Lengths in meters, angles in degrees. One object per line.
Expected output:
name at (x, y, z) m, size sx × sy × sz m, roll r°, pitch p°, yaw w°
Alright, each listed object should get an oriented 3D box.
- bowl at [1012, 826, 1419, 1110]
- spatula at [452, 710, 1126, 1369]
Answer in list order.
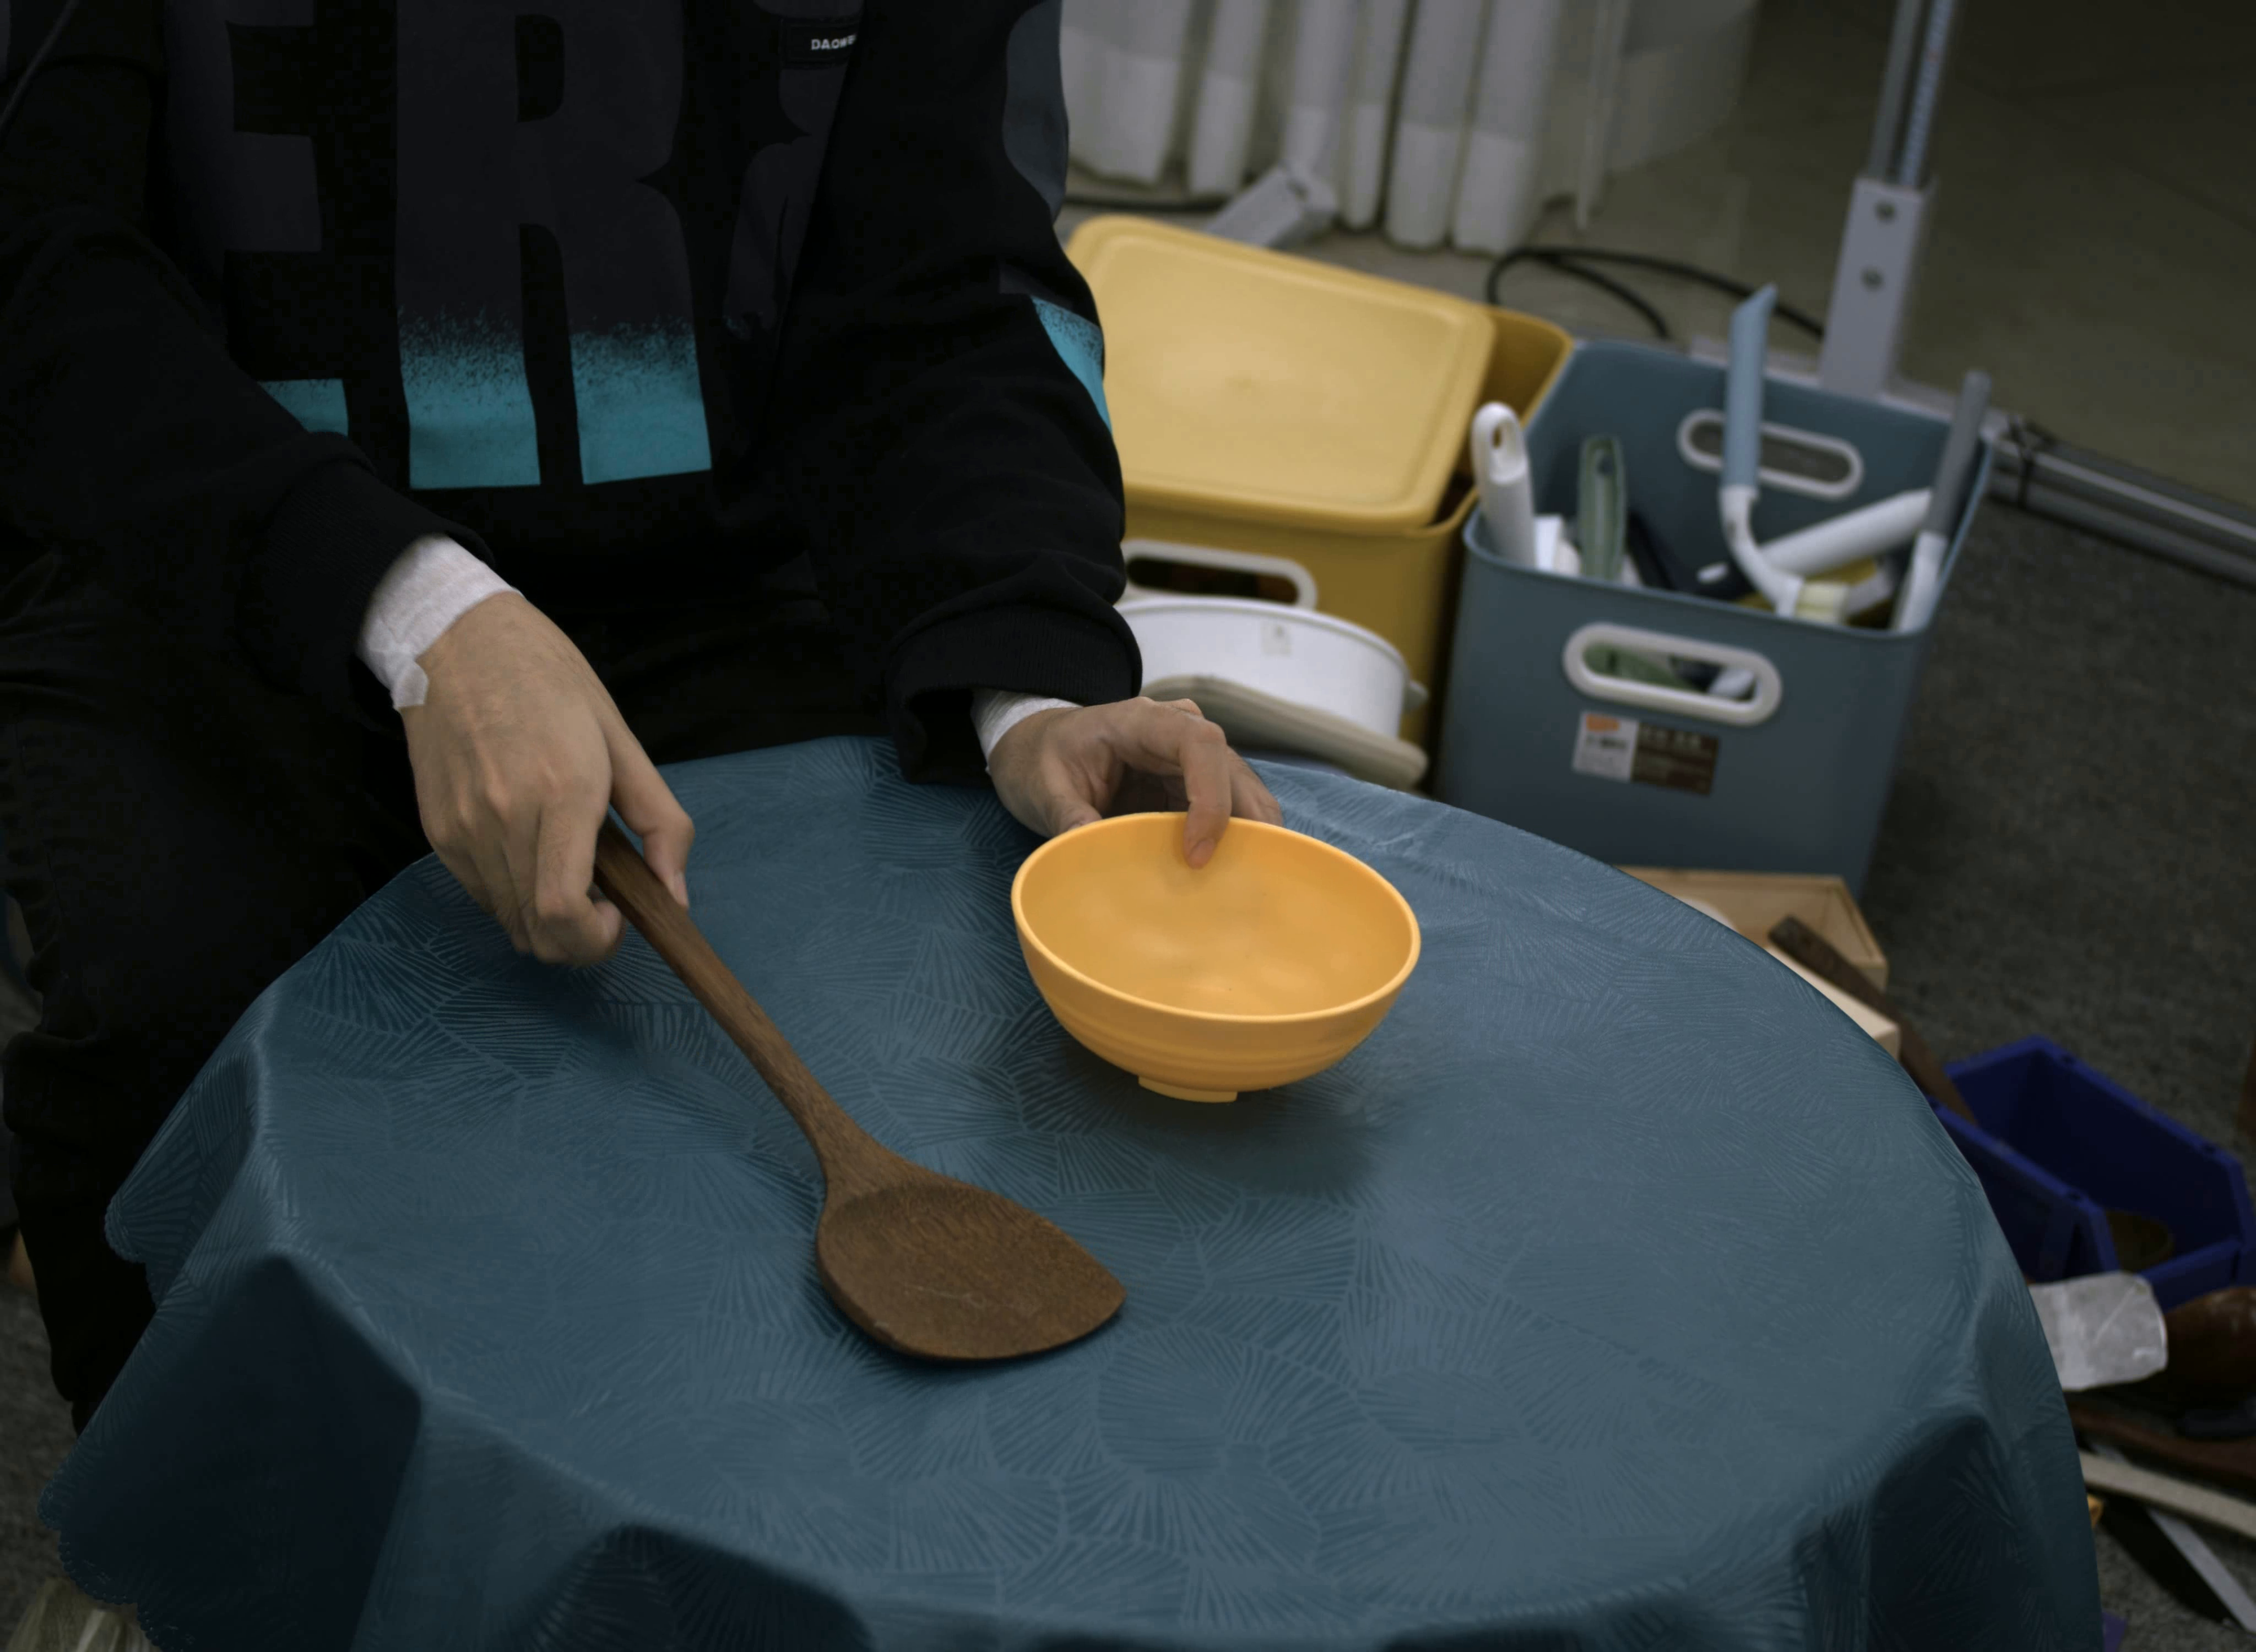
bowl at (0.027, 0.058, 1.874) m, size 0.145 × 0.060 × 0.146 m, roll 6°, pitch 26°, yaw -3°
spatula at (-0.135, 0.064, 1.822) m, size 0.095 × 0.016 × 0.389 m, roll -10°, pitch 40°, yaw -35°
